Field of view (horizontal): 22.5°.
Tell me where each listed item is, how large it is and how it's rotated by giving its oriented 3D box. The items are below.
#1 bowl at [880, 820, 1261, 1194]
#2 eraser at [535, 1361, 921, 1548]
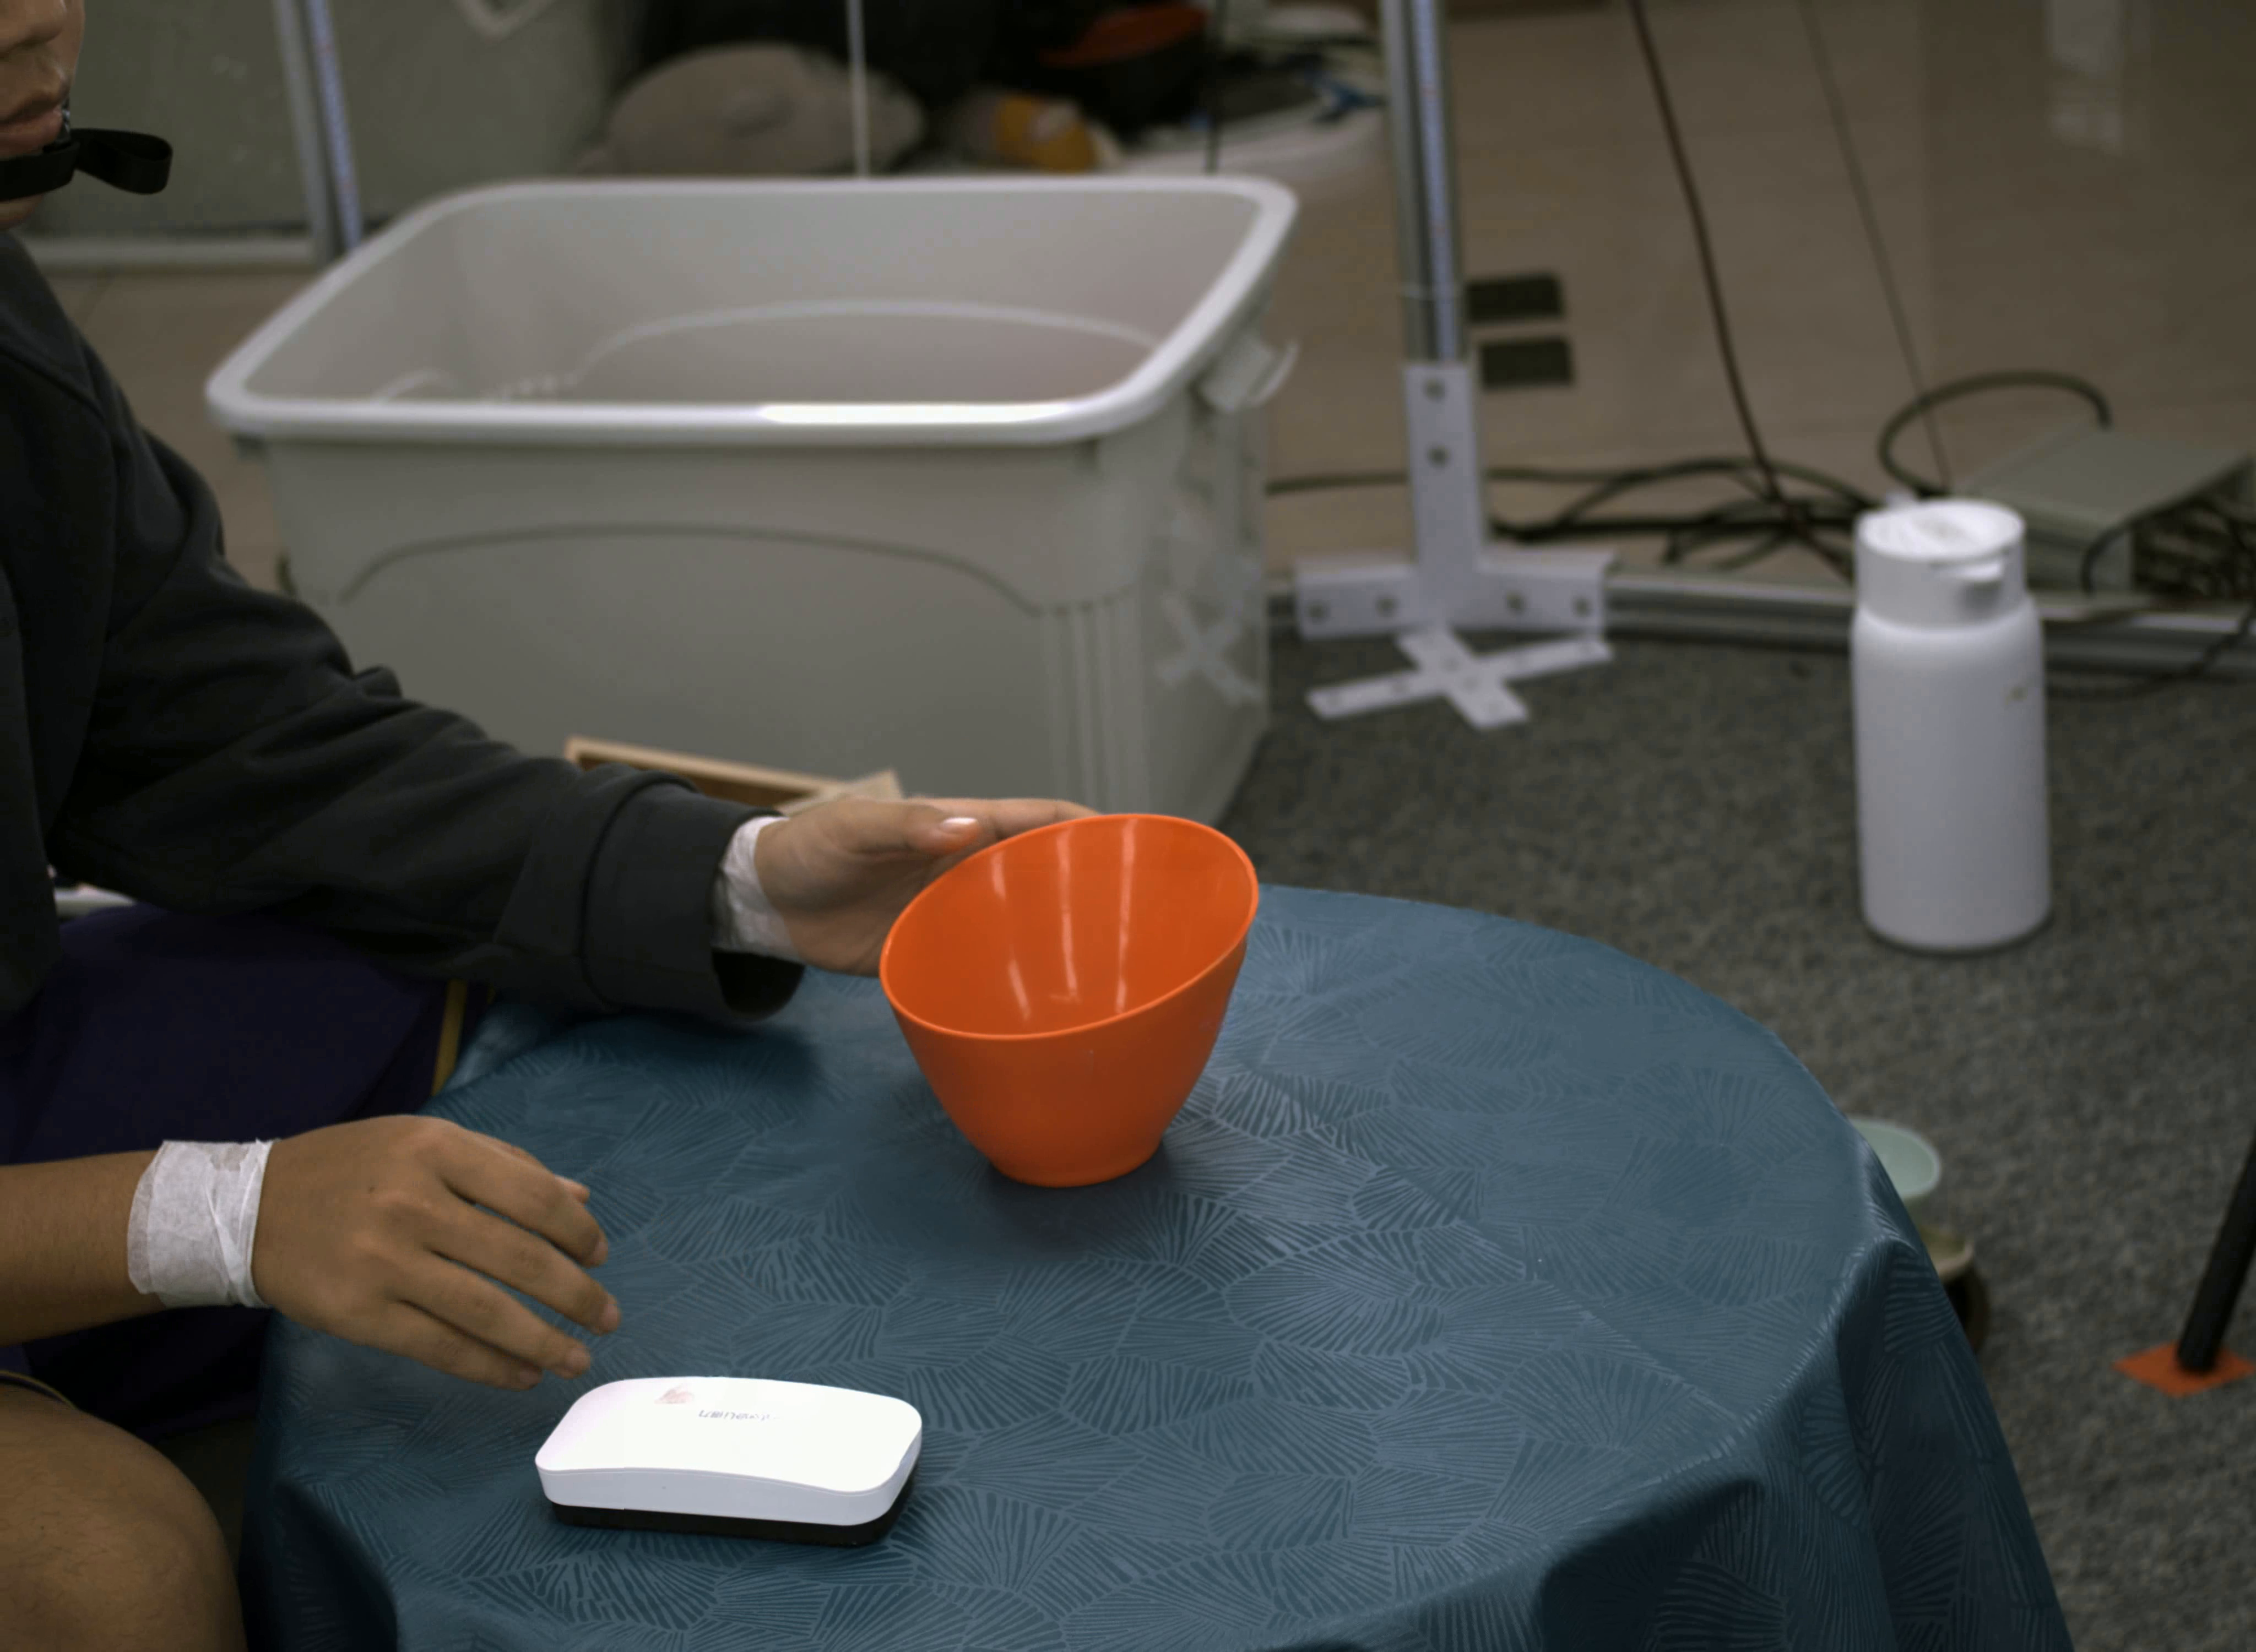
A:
[{"bbox_3d":[-0.017,0.076,2.168,0.148,0.106,0.146,-6,26,3],"label":"bowl"},{"bbox_3d":[-0.138,0.218,1.973,0.131,0.035,0.062,4,26,19],"label":"eraser"}]
